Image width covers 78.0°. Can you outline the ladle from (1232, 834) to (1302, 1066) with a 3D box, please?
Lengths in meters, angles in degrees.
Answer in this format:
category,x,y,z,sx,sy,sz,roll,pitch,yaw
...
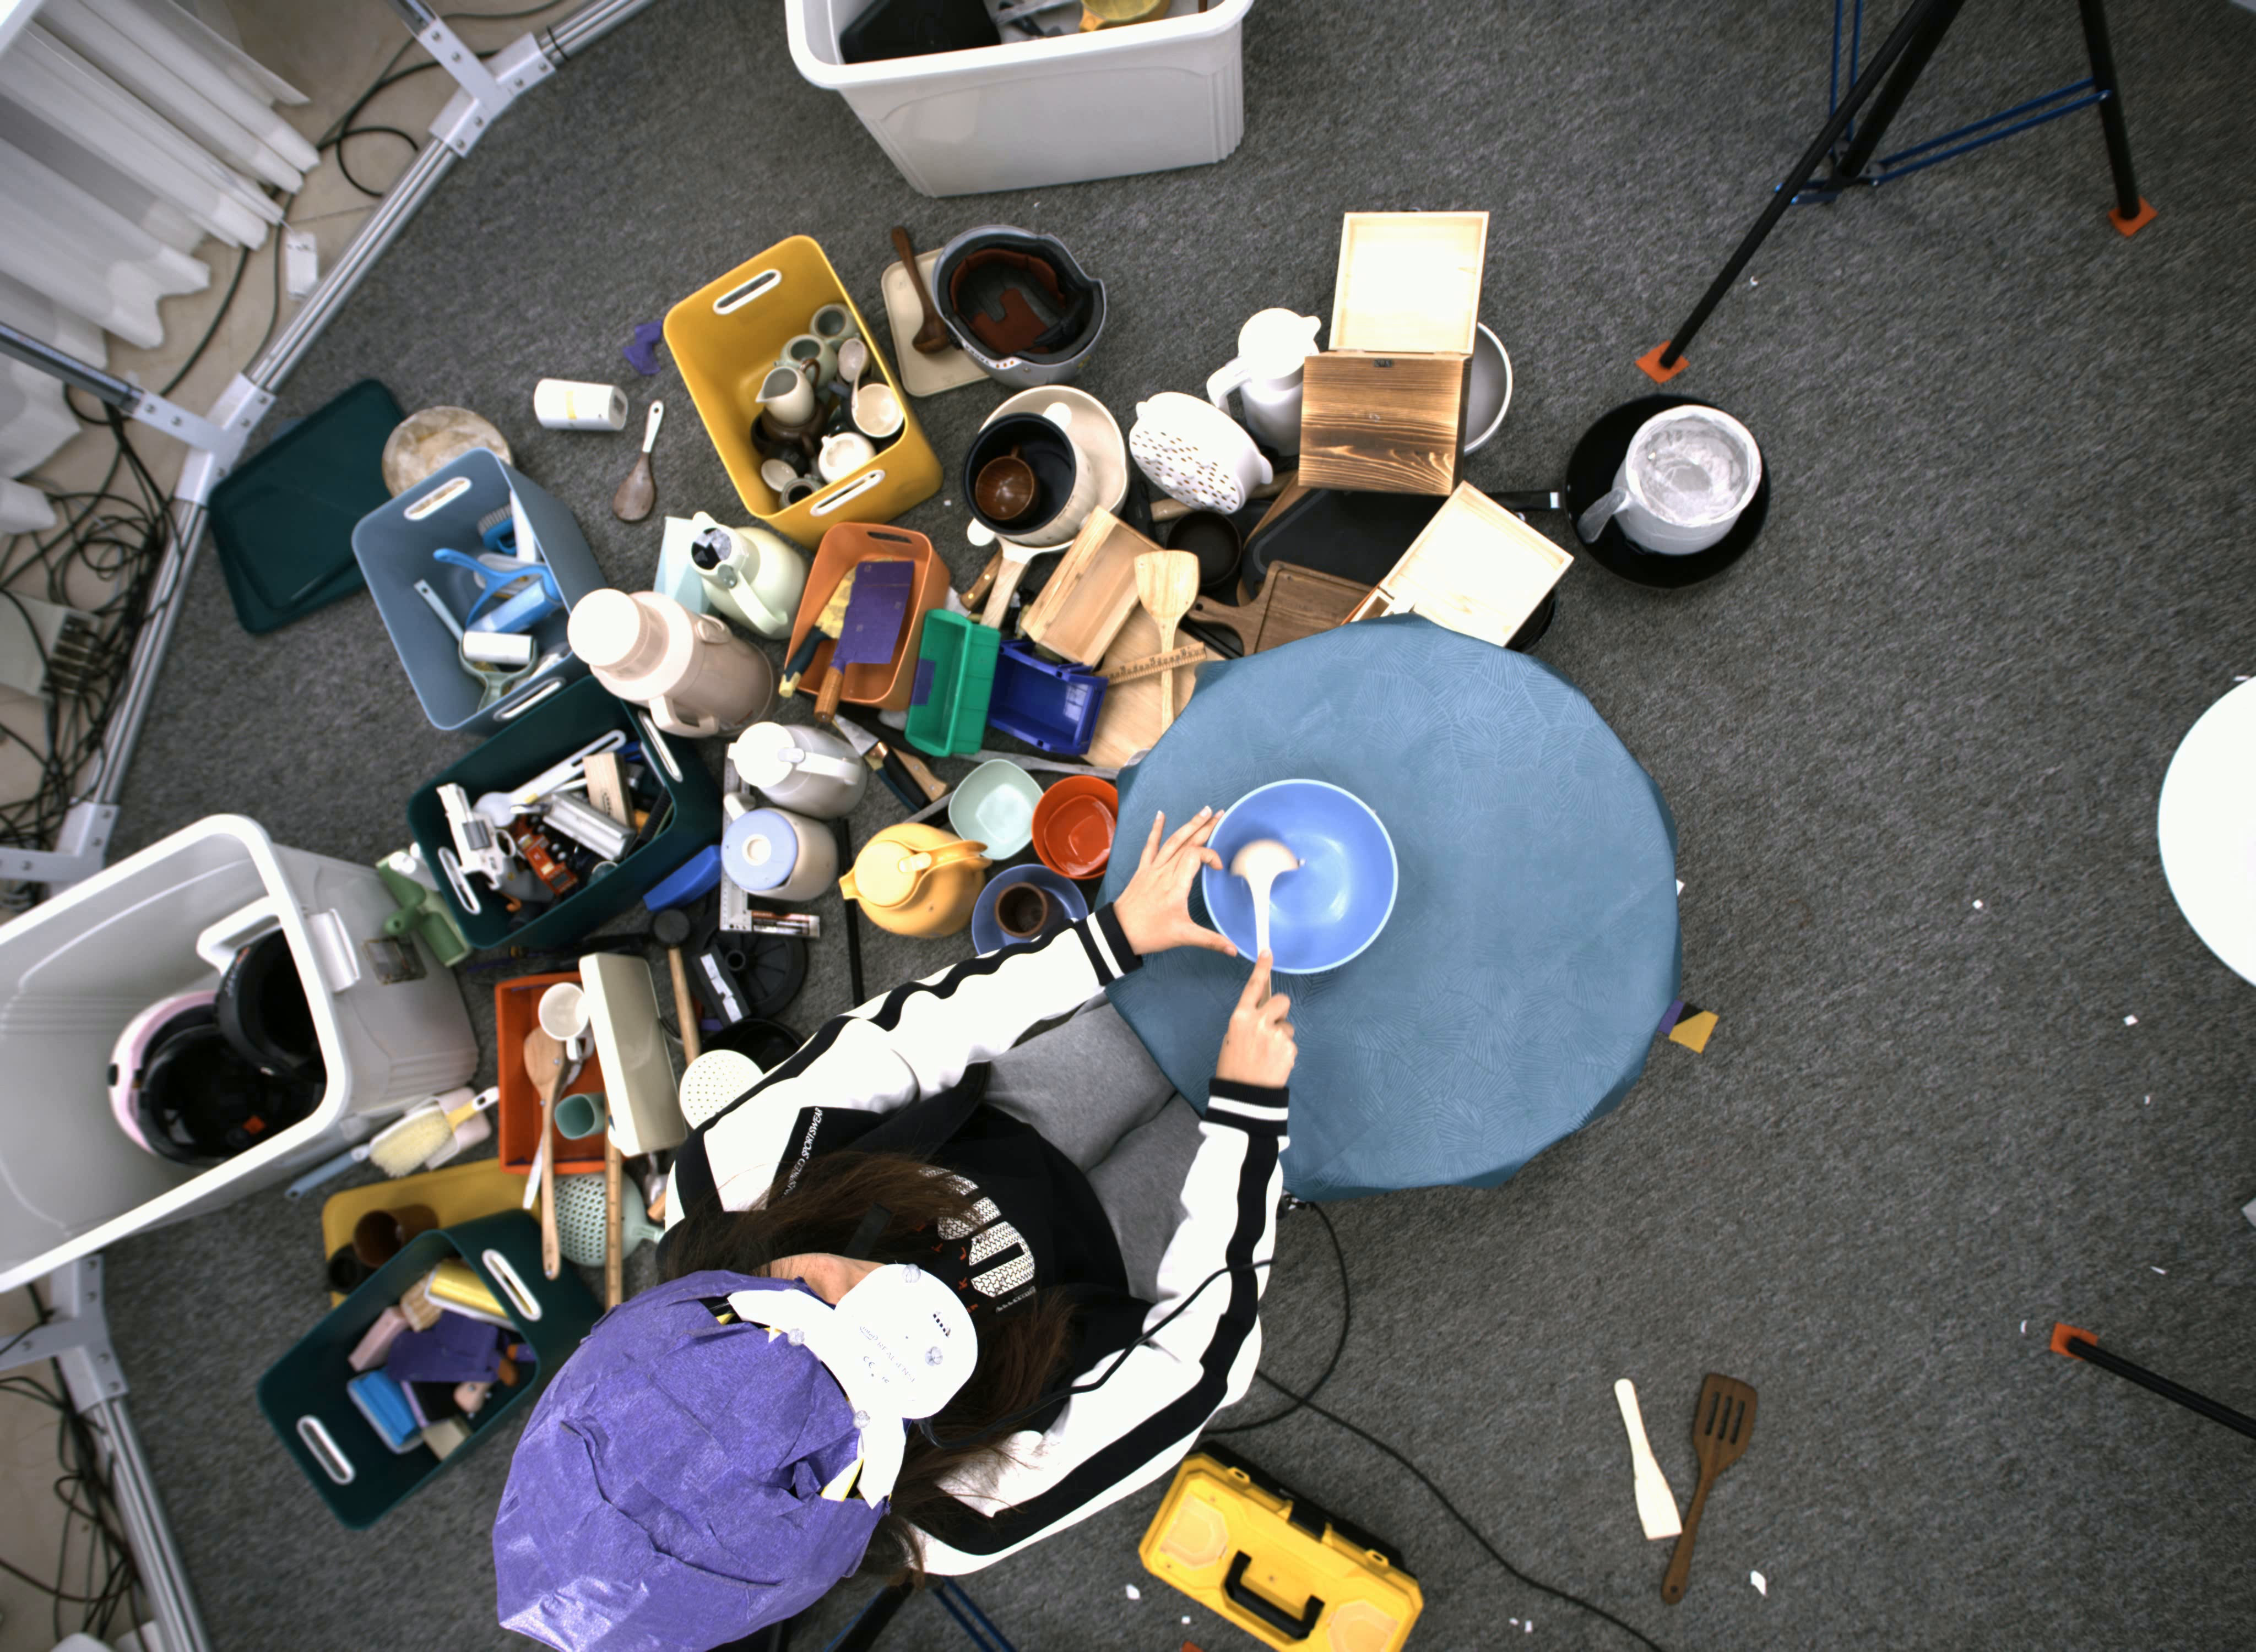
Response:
category,x,y,z,sx,sy,sz,roll,pitch,yaw
ladle,0.138,0.128,1.396,0.072,0.074,0.249,-3,65,14

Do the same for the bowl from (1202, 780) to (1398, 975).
category,x,y,z,sx,sy,sz,roll,pitch,yaw
bowl,0.179,0.054,1.434,0.197,0.095,0.196,-1,88,10
